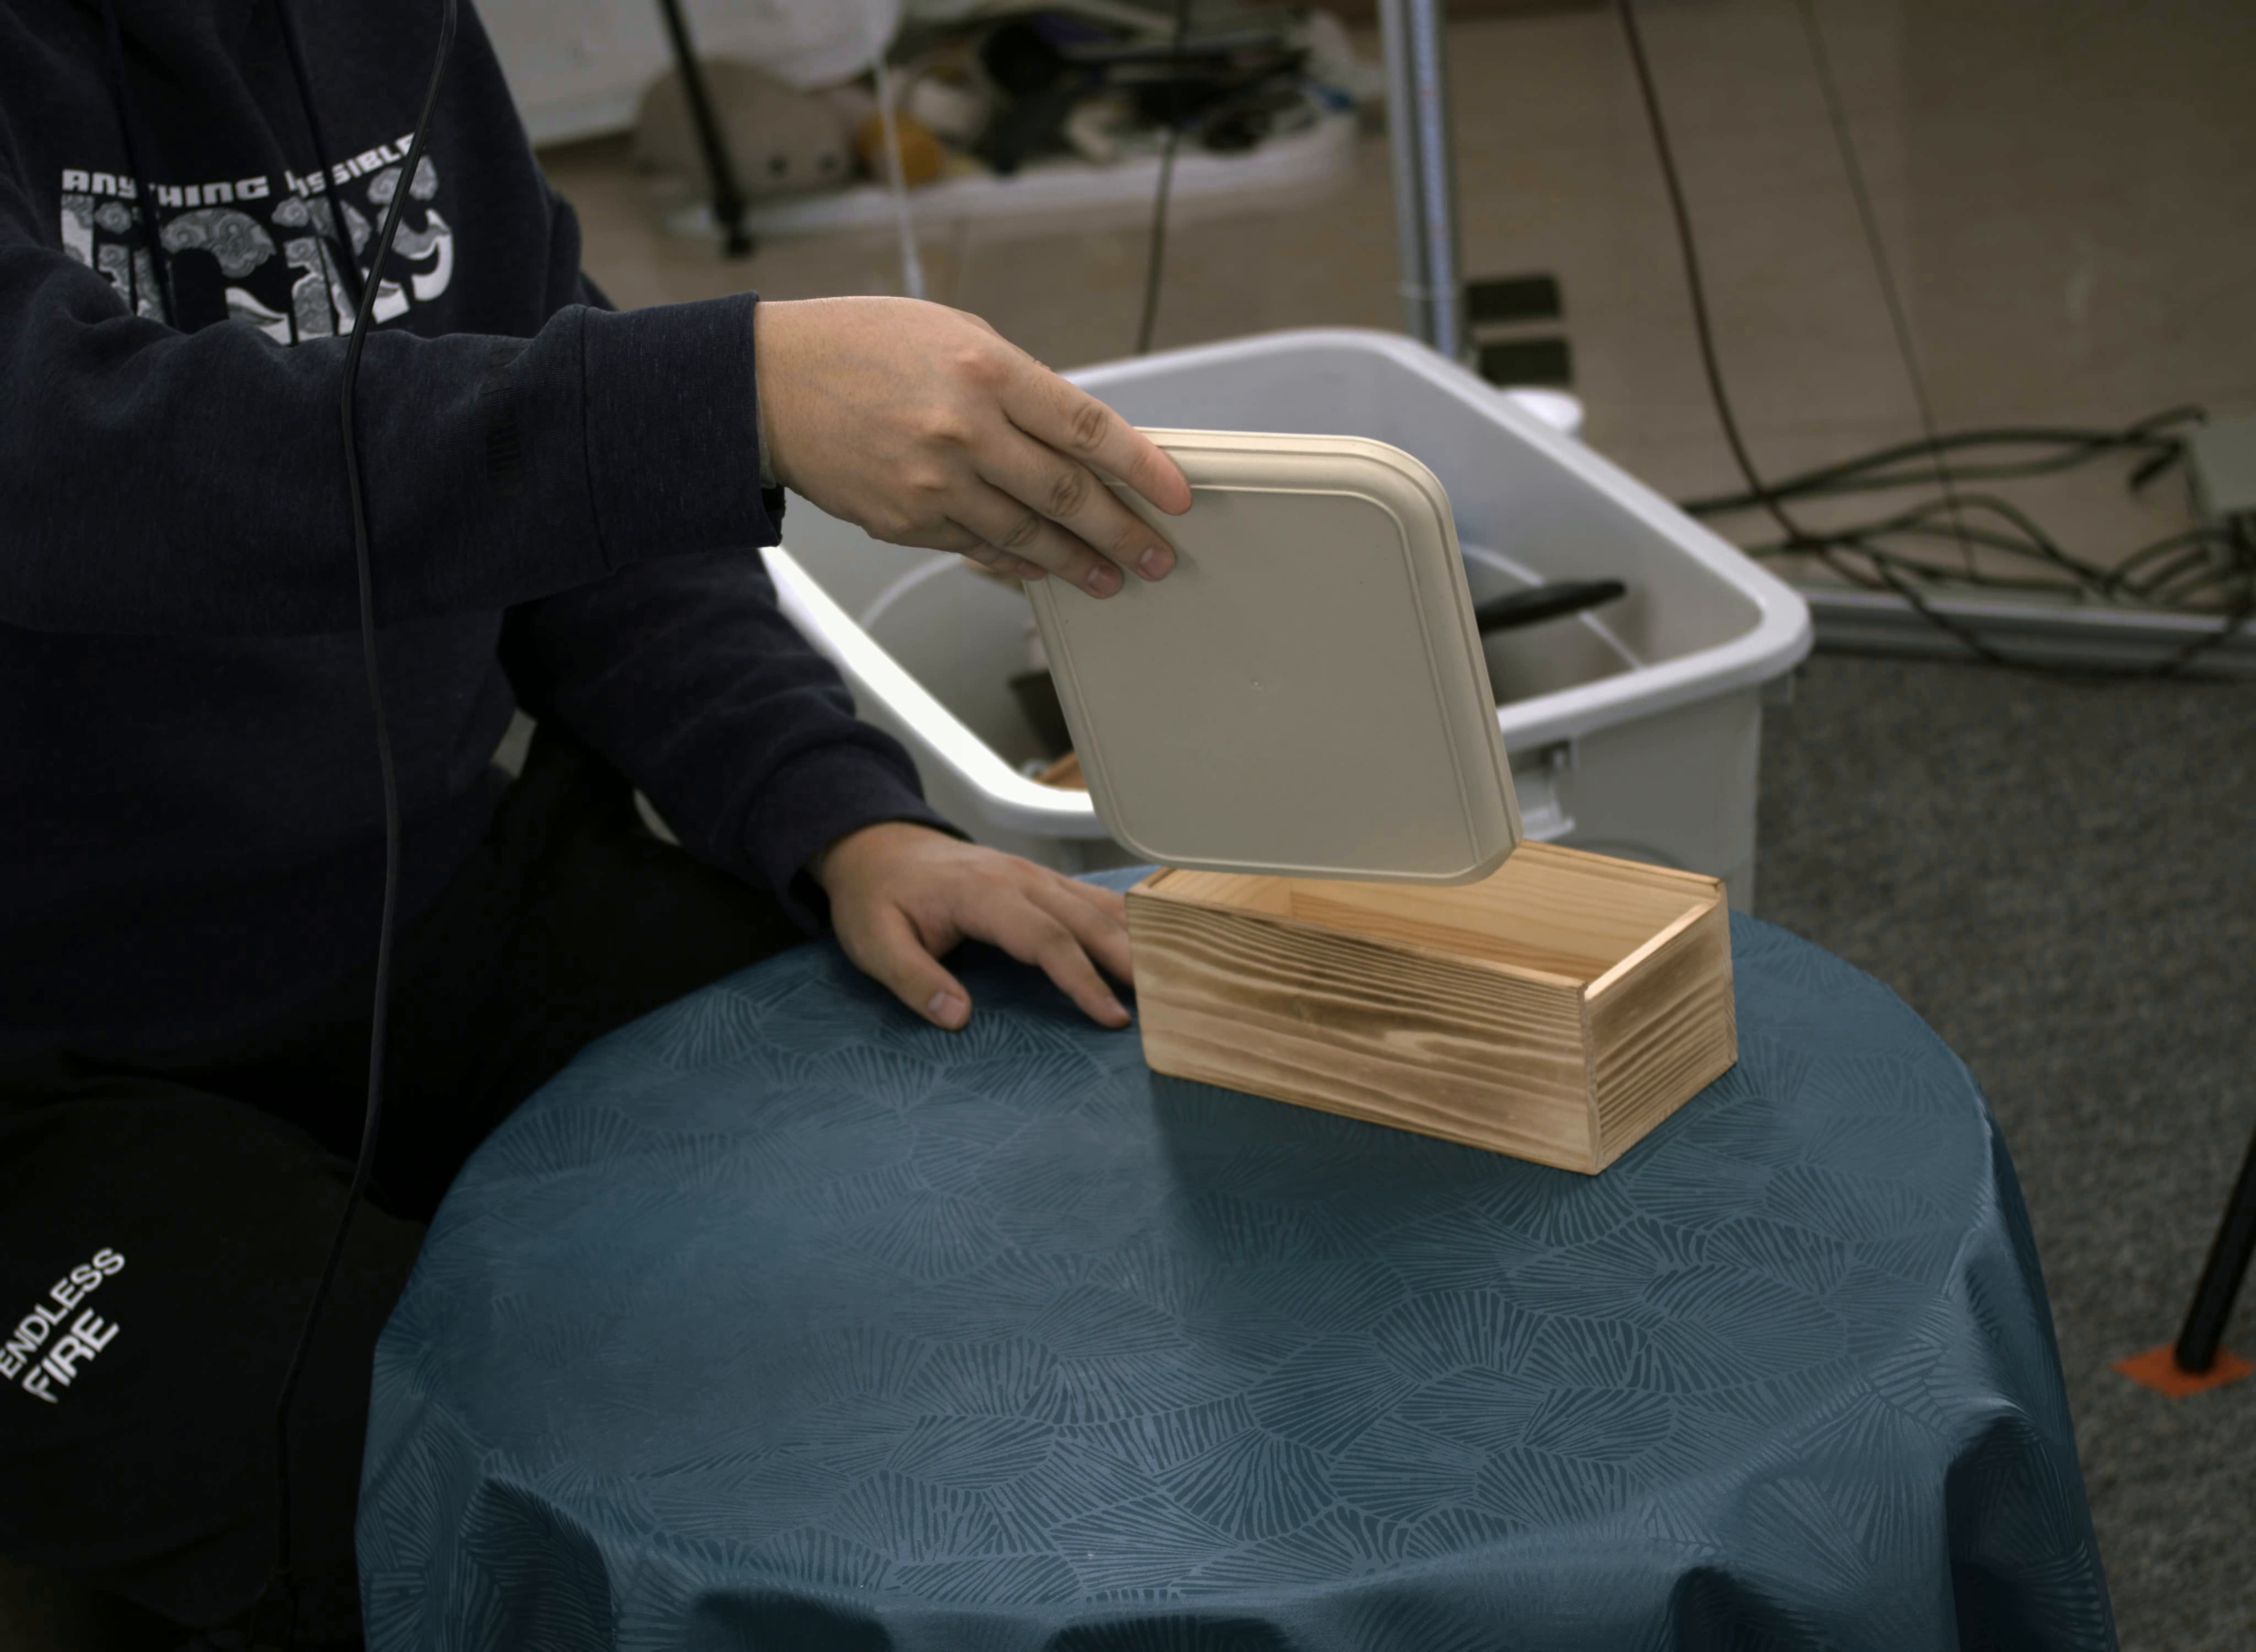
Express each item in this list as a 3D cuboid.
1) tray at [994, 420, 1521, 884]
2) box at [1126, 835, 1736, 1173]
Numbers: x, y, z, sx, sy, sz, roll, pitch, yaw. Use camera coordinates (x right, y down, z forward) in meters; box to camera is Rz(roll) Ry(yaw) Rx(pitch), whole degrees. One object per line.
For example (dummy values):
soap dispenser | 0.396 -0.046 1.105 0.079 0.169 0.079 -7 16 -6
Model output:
tray | 0.048 -0.058 2.075 0.171 0.244 0.017 3 51 17
box | 0.117 0.057 2.200 0.210 0.081 0.106 12 30 35
